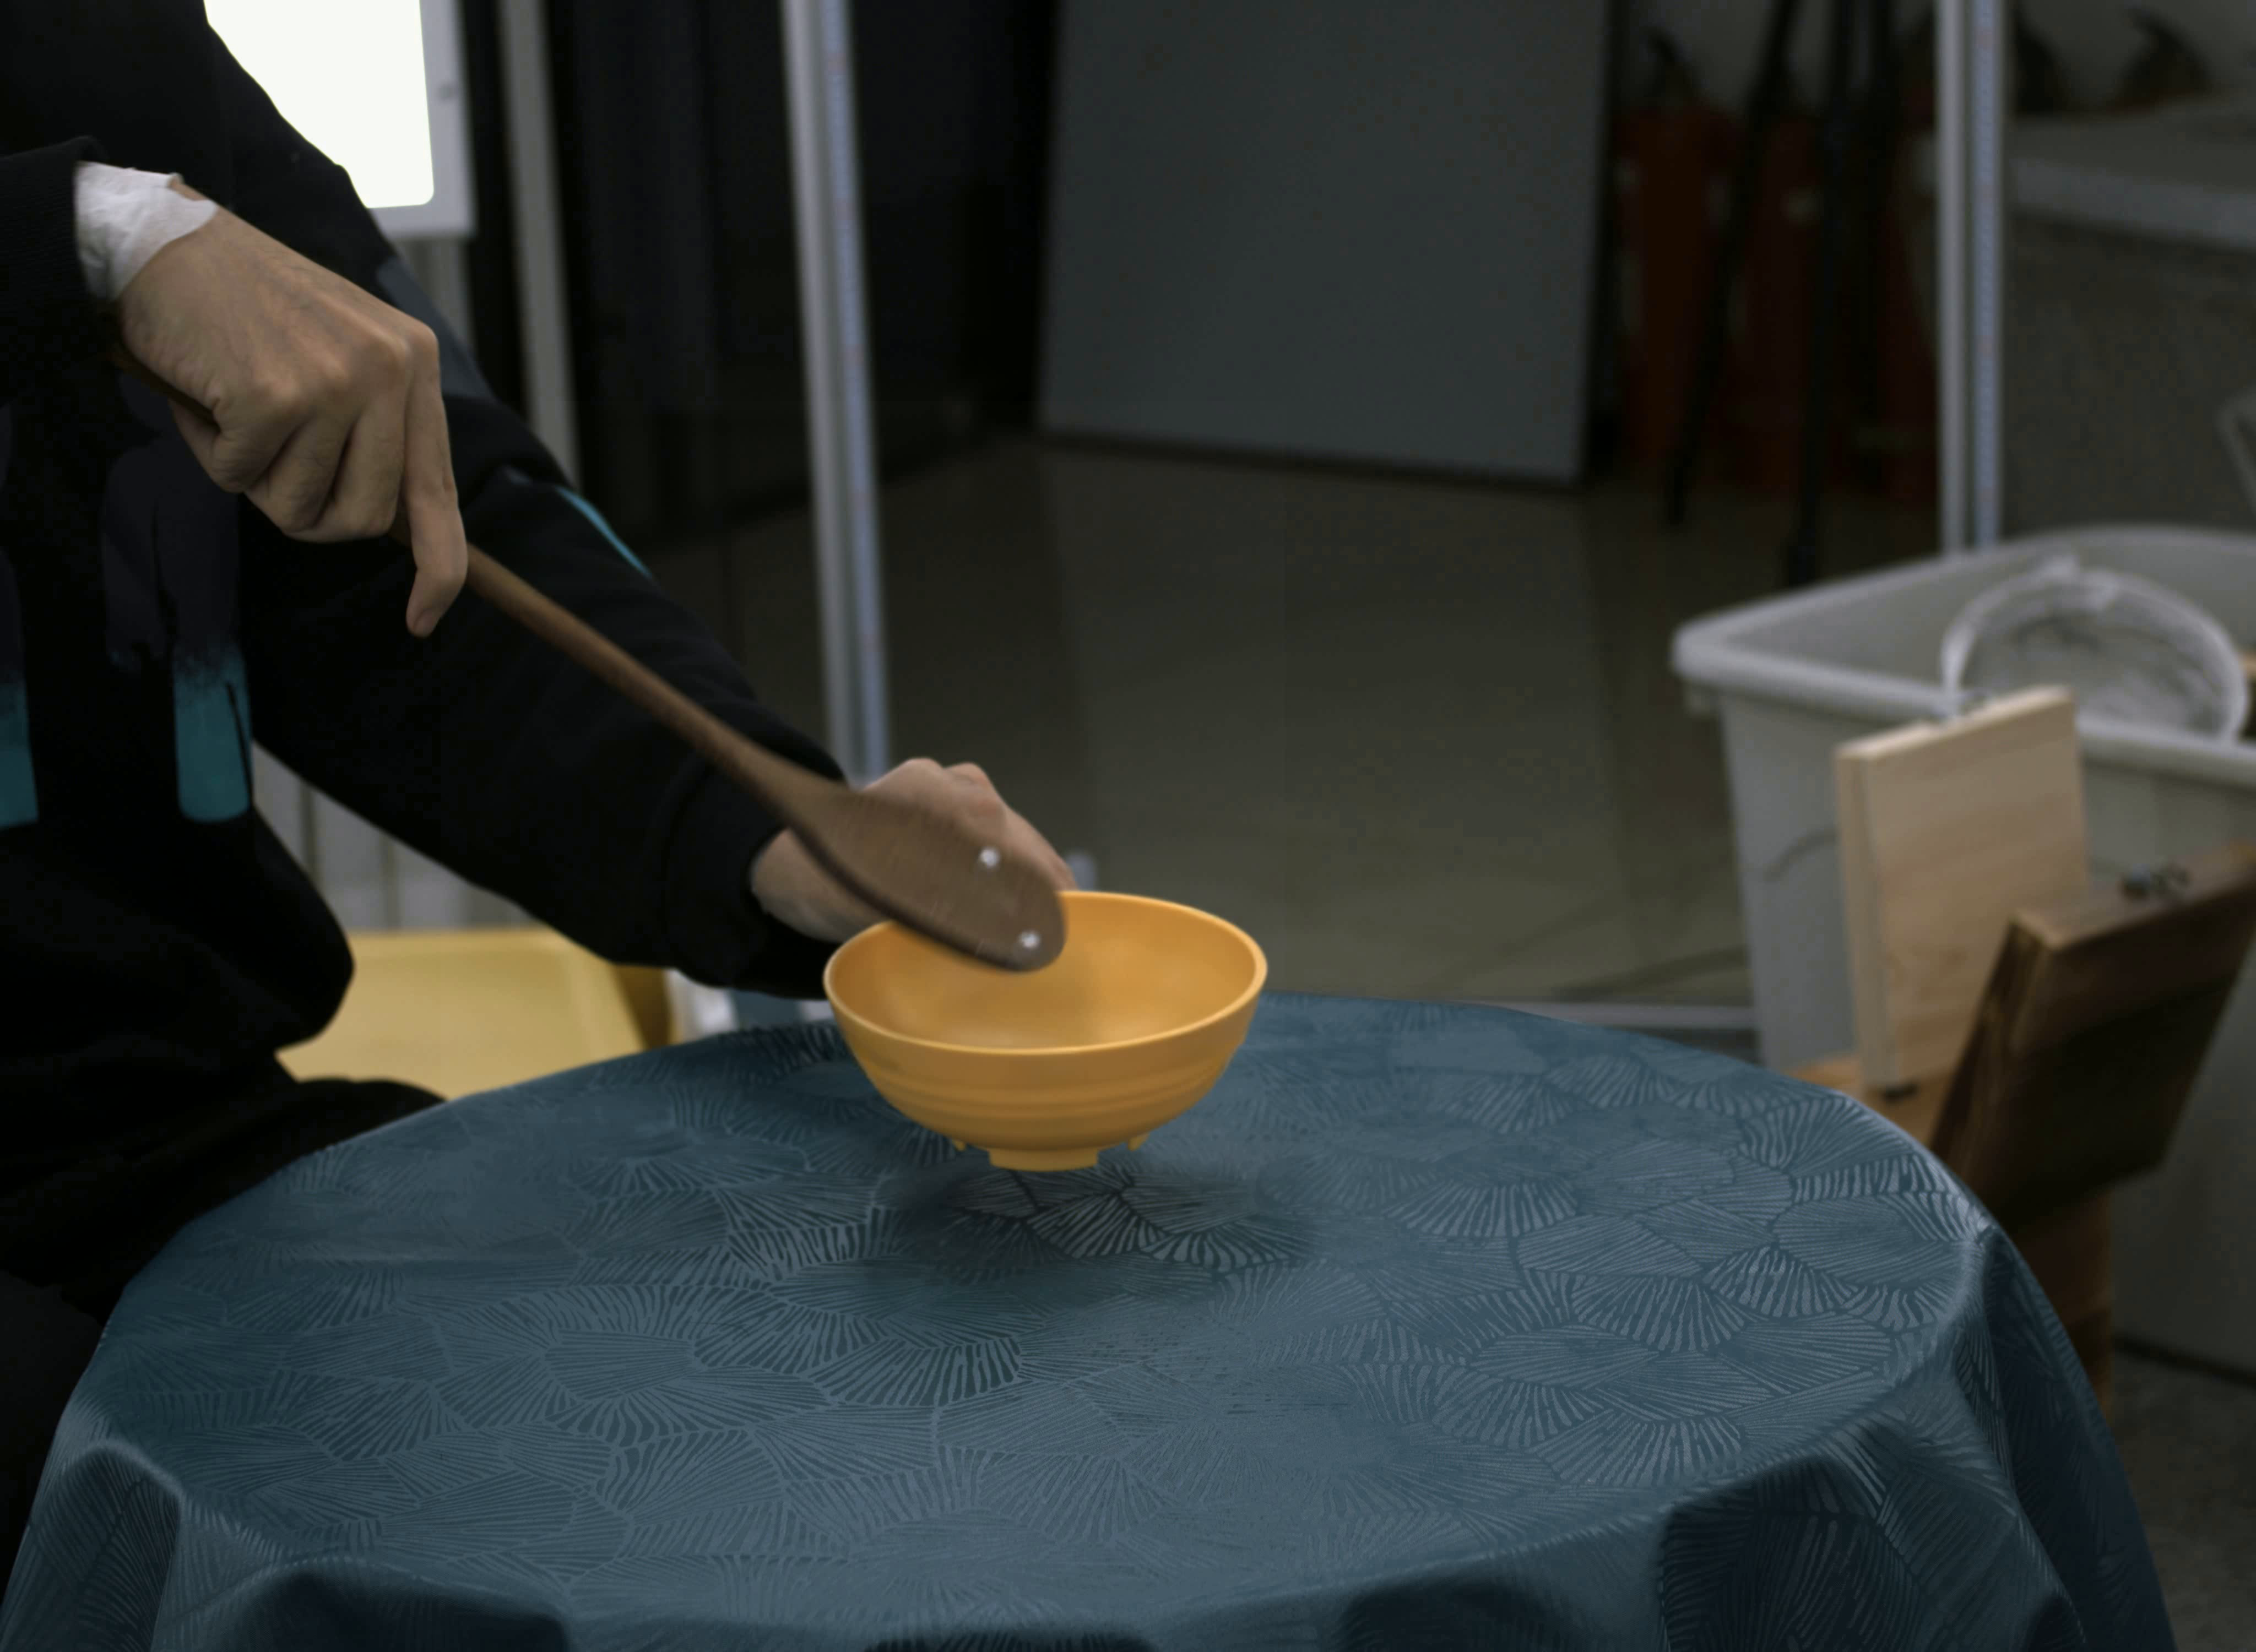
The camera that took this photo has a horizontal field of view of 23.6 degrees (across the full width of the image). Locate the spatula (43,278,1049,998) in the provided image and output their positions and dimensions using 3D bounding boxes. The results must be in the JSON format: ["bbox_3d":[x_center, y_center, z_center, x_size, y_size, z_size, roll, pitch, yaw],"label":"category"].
[{"bbox_3d":[-0.182,-0.062,1.724,0.384,0.016,0.096,36,18,-3],"label":"spatula"}]

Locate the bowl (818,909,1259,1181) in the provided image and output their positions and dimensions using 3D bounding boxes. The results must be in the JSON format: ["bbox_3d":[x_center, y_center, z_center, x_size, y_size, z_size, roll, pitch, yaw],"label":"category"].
[{"bbox_3d":[-0.029,0.076,1.753,0.143,0.061,0.145,-2,17,0],"label":"bowl"}]
